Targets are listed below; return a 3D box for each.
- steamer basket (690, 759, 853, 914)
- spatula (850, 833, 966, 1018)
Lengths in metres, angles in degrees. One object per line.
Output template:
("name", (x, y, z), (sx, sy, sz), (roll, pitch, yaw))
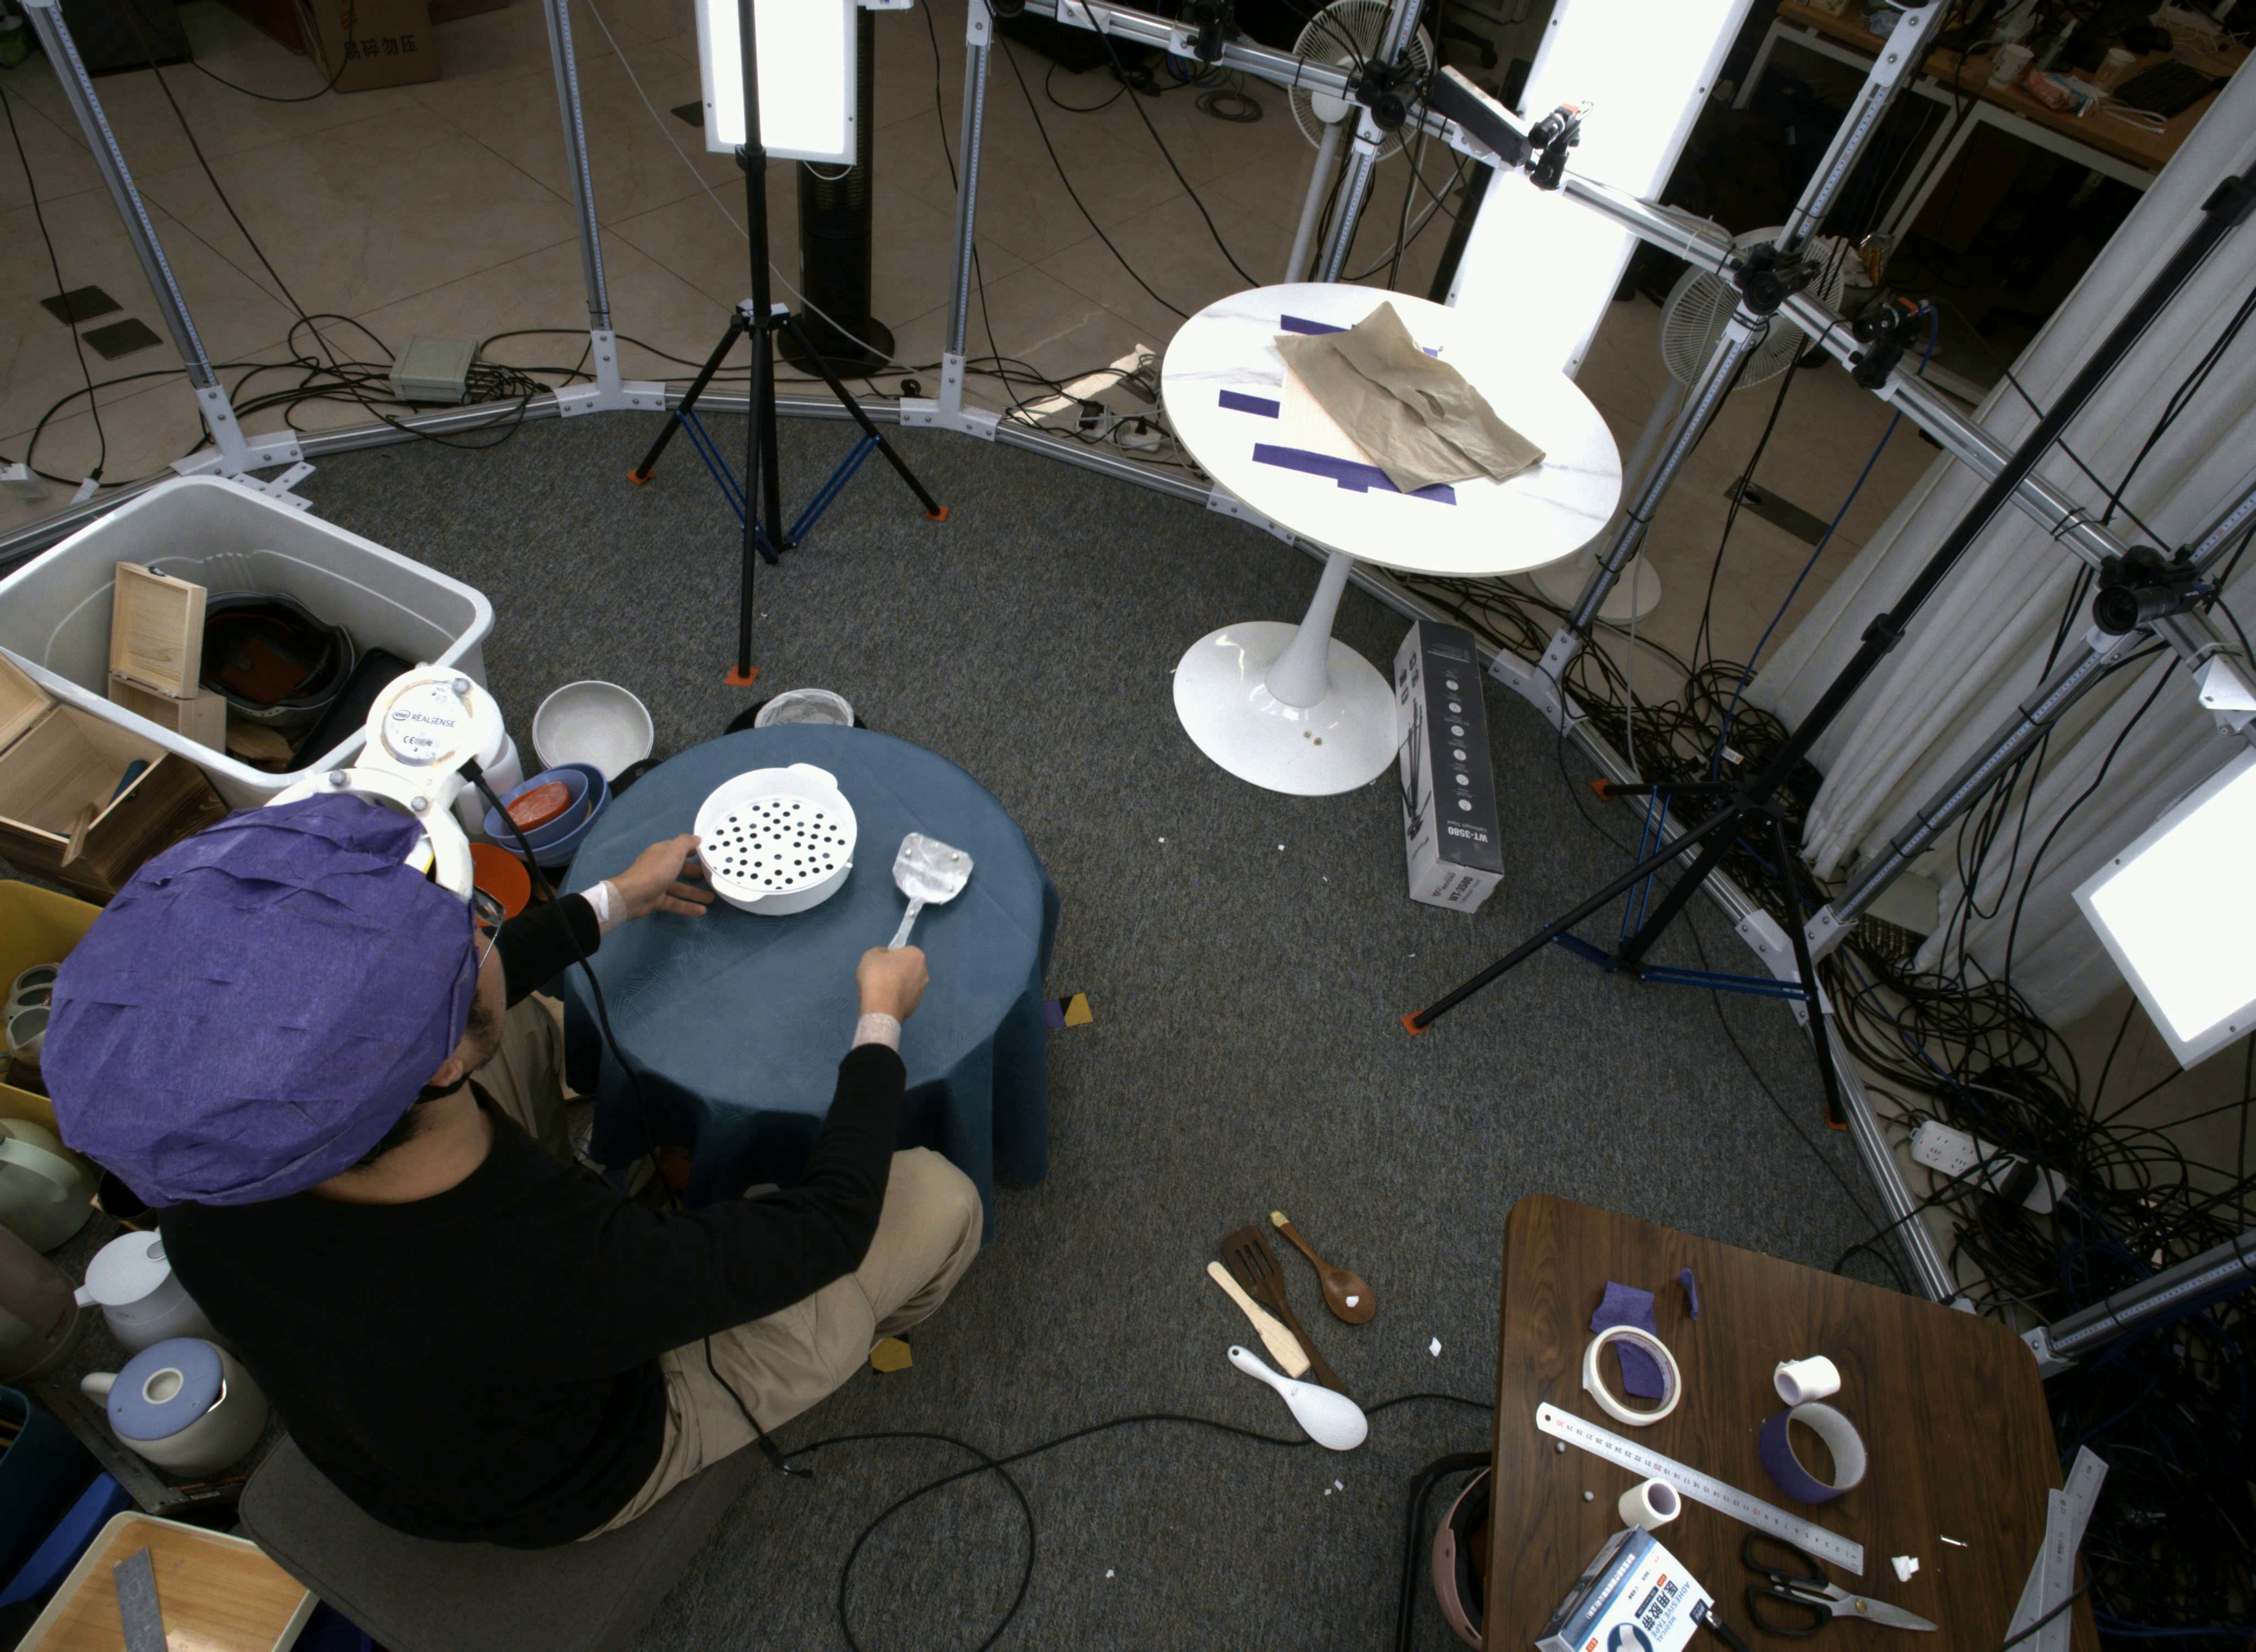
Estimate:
("steamer basket", (-0.452, 0.017, 1.654), (0.199, 0.070, 0.228), (21, 53, 3))
("spatula", (-0.274, 0.115, 1.571), (0.099, 0.045, 0.358), (25, 25, -8))
